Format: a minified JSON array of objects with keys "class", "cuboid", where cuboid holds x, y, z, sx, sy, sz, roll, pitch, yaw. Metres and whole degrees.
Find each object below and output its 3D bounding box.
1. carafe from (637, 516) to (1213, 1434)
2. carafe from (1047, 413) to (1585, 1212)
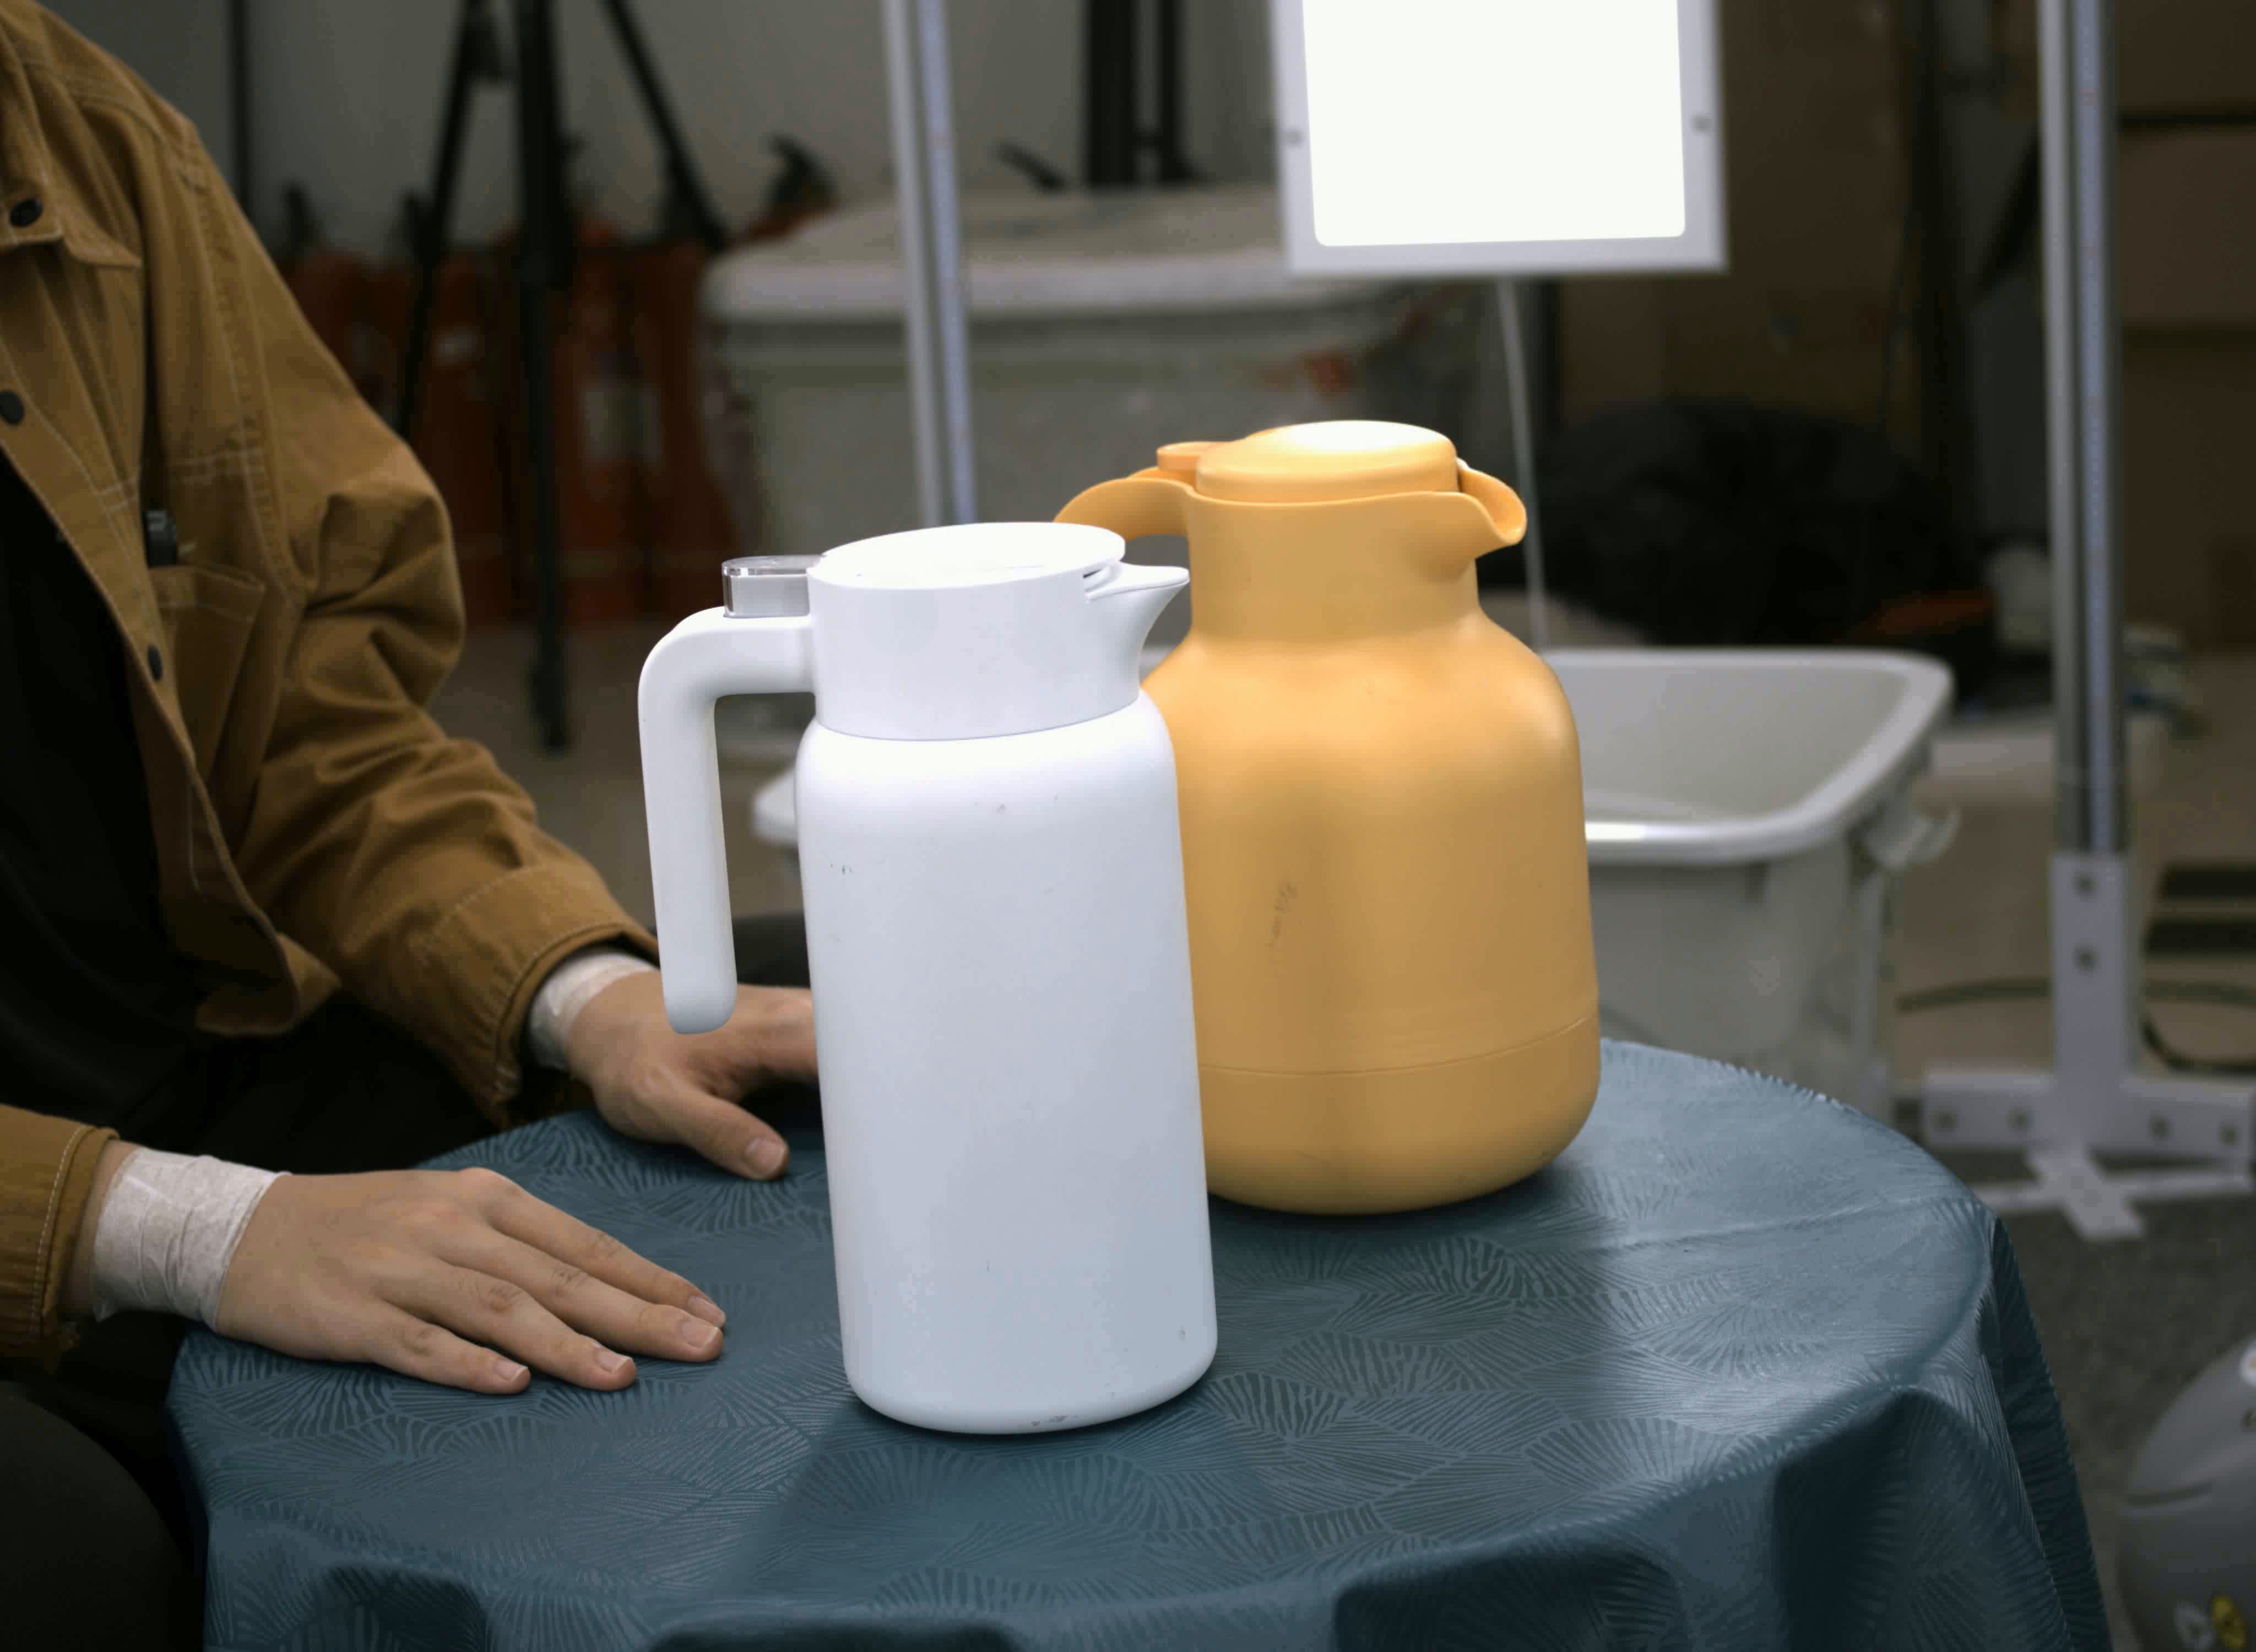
[{"class":"carafe","cuboid":[-0.057,0.045,1.689,0.174,0.270,0.122,-2,16,11]},{"class":"carafe","cuboid":[0.059,-0.011,1.882,0.206,0.261,0.159,9,16,39]}]
